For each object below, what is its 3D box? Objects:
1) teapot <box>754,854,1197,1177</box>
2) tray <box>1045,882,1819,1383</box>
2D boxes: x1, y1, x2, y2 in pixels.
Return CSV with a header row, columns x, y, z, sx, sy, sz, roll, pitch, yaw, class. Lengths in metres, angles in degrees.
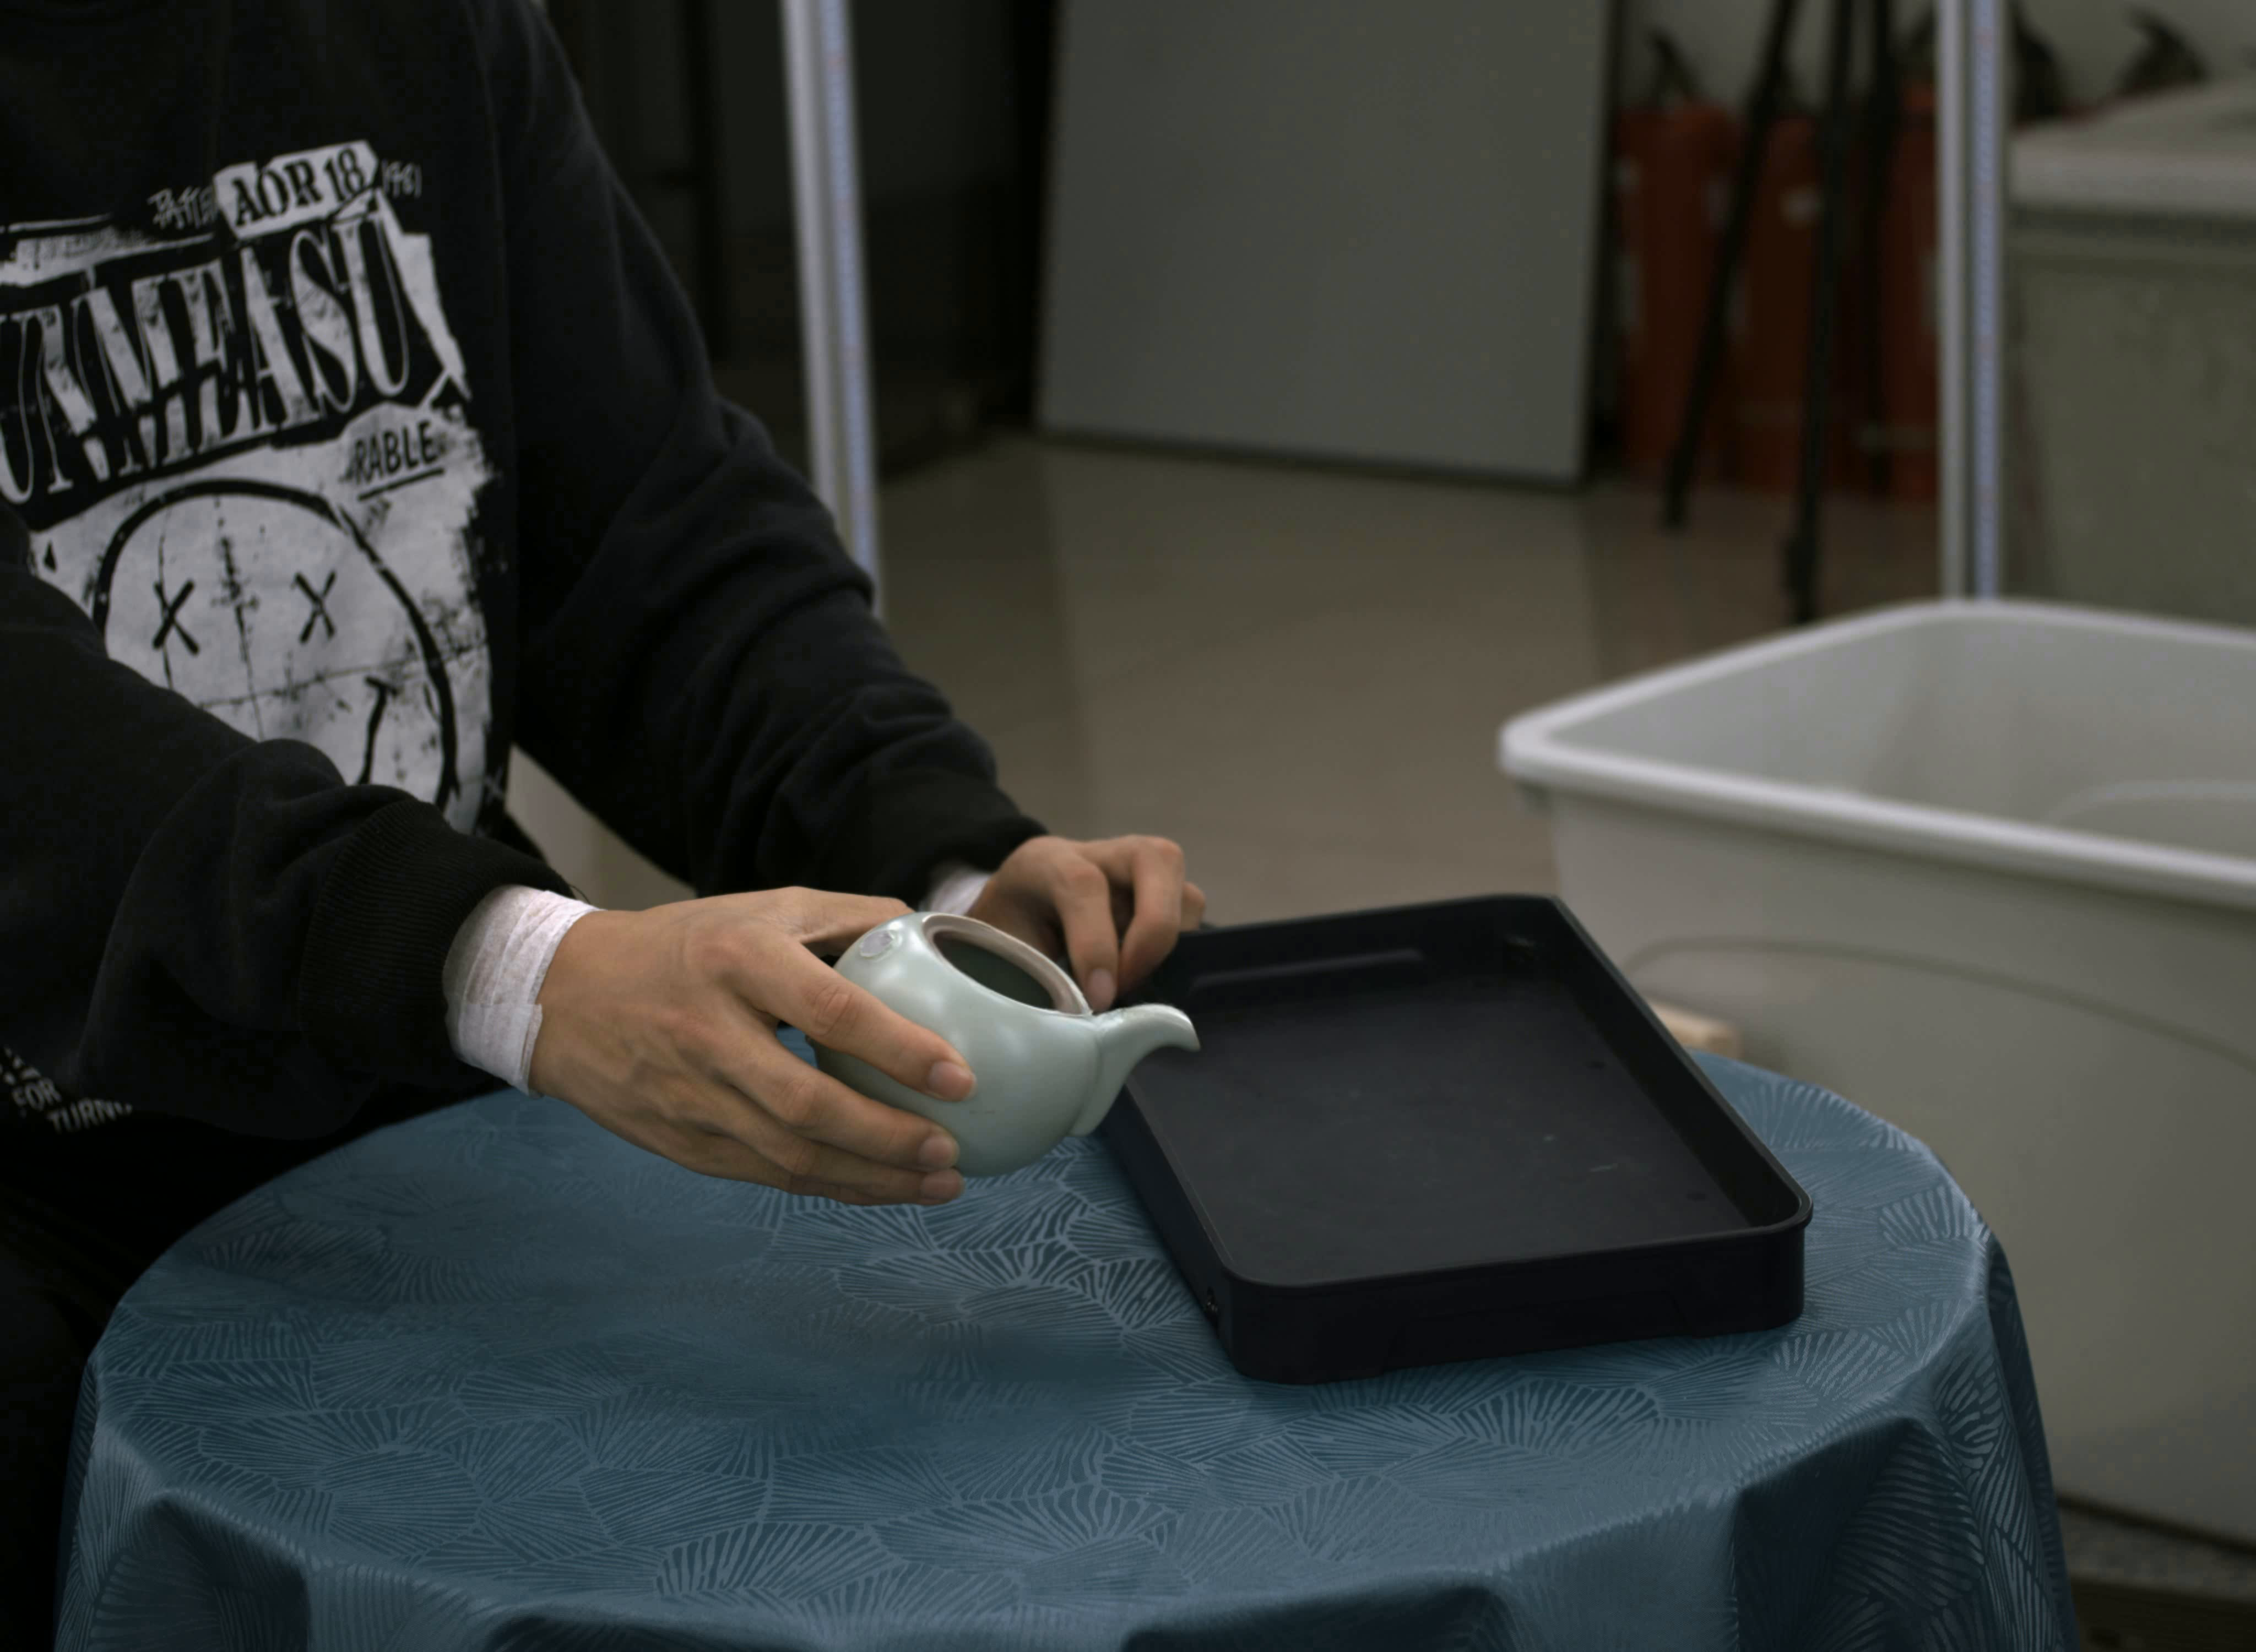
x,y,z,sx,sy,sz,roll,pitch,yaw,class
-0.054,0.064,1.638,0.141,0.075,0.089,25,16,-19,teapot
0.090,0.093,1.739,0.181,0.037,0.320,-8,19,-10,tray
